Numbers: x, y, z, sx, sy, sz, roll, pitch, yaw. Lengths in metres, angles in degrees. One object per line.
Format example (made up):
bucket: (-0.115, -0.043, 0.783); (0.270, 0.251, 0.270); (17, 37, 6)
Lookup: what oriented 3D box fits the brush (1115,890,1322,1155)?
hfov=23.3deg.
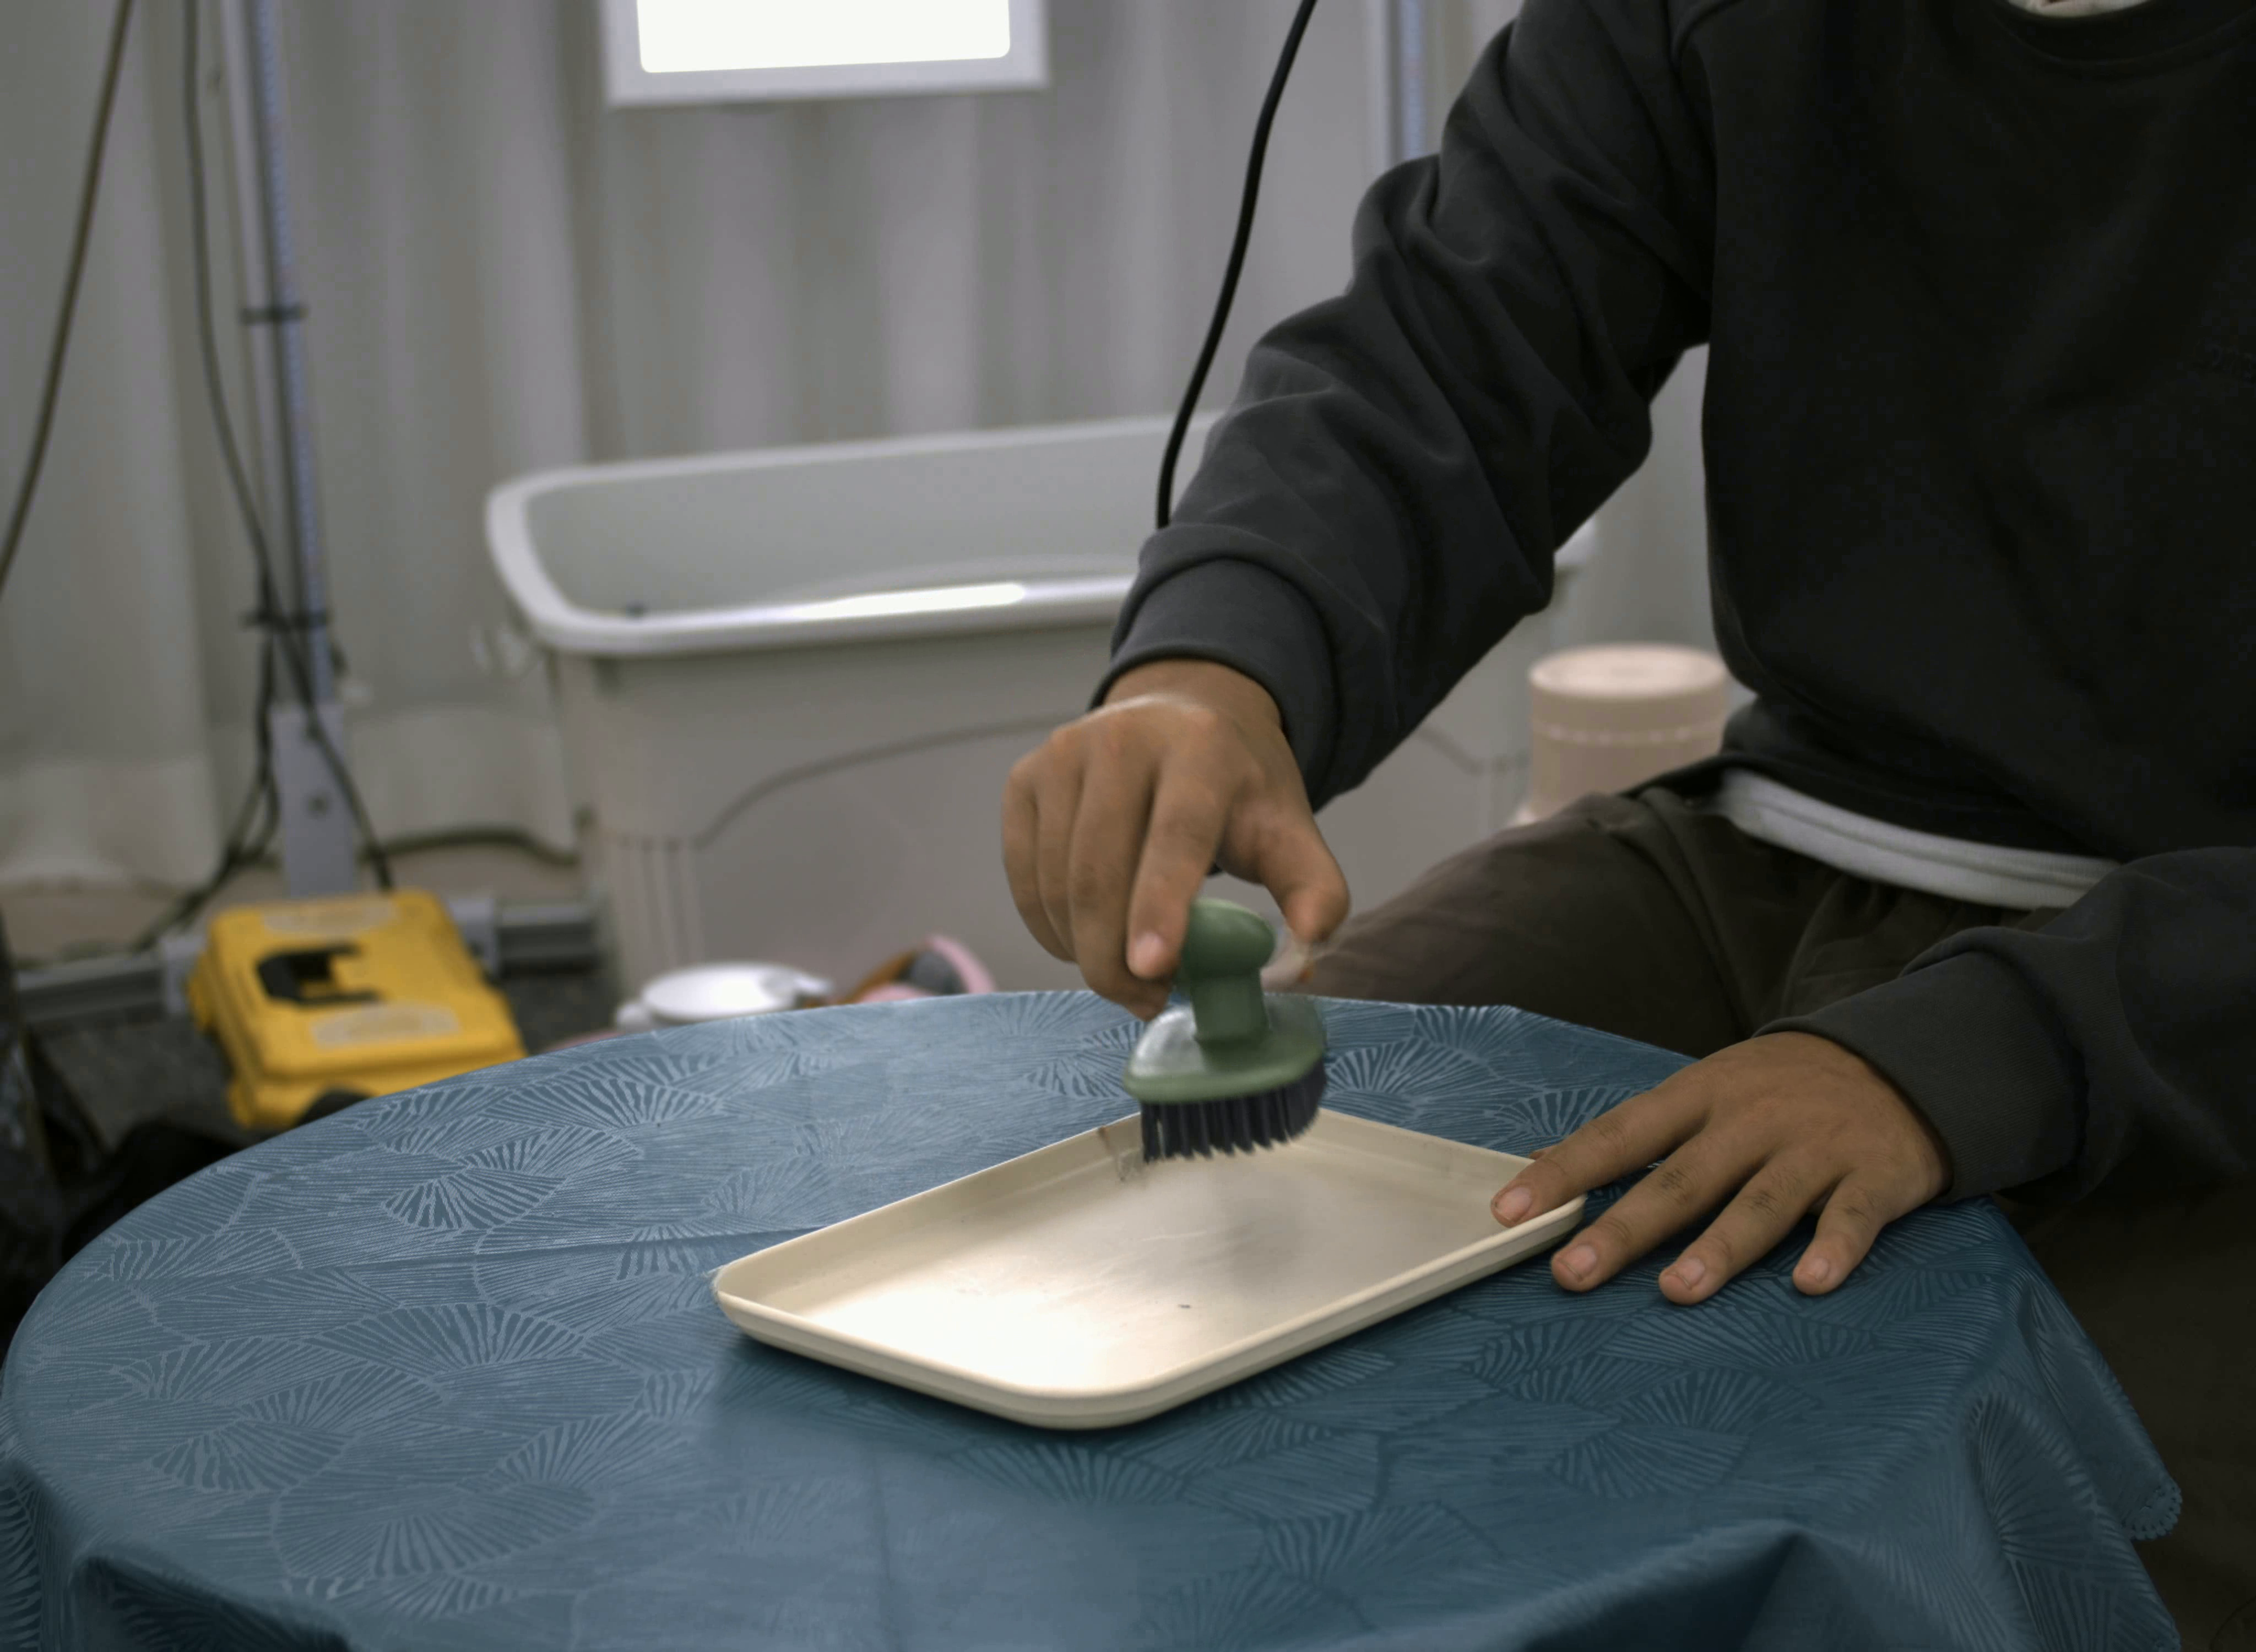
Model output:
brush: (0.027, 0.060, 1.640); (0.059, 0.076, 0.122); (-7, -6, 7)

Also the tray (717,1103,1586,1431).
tray: (0.009, 0.128, 1.630); (0.172, 0.017, 0.239); (12, 21, 42)
